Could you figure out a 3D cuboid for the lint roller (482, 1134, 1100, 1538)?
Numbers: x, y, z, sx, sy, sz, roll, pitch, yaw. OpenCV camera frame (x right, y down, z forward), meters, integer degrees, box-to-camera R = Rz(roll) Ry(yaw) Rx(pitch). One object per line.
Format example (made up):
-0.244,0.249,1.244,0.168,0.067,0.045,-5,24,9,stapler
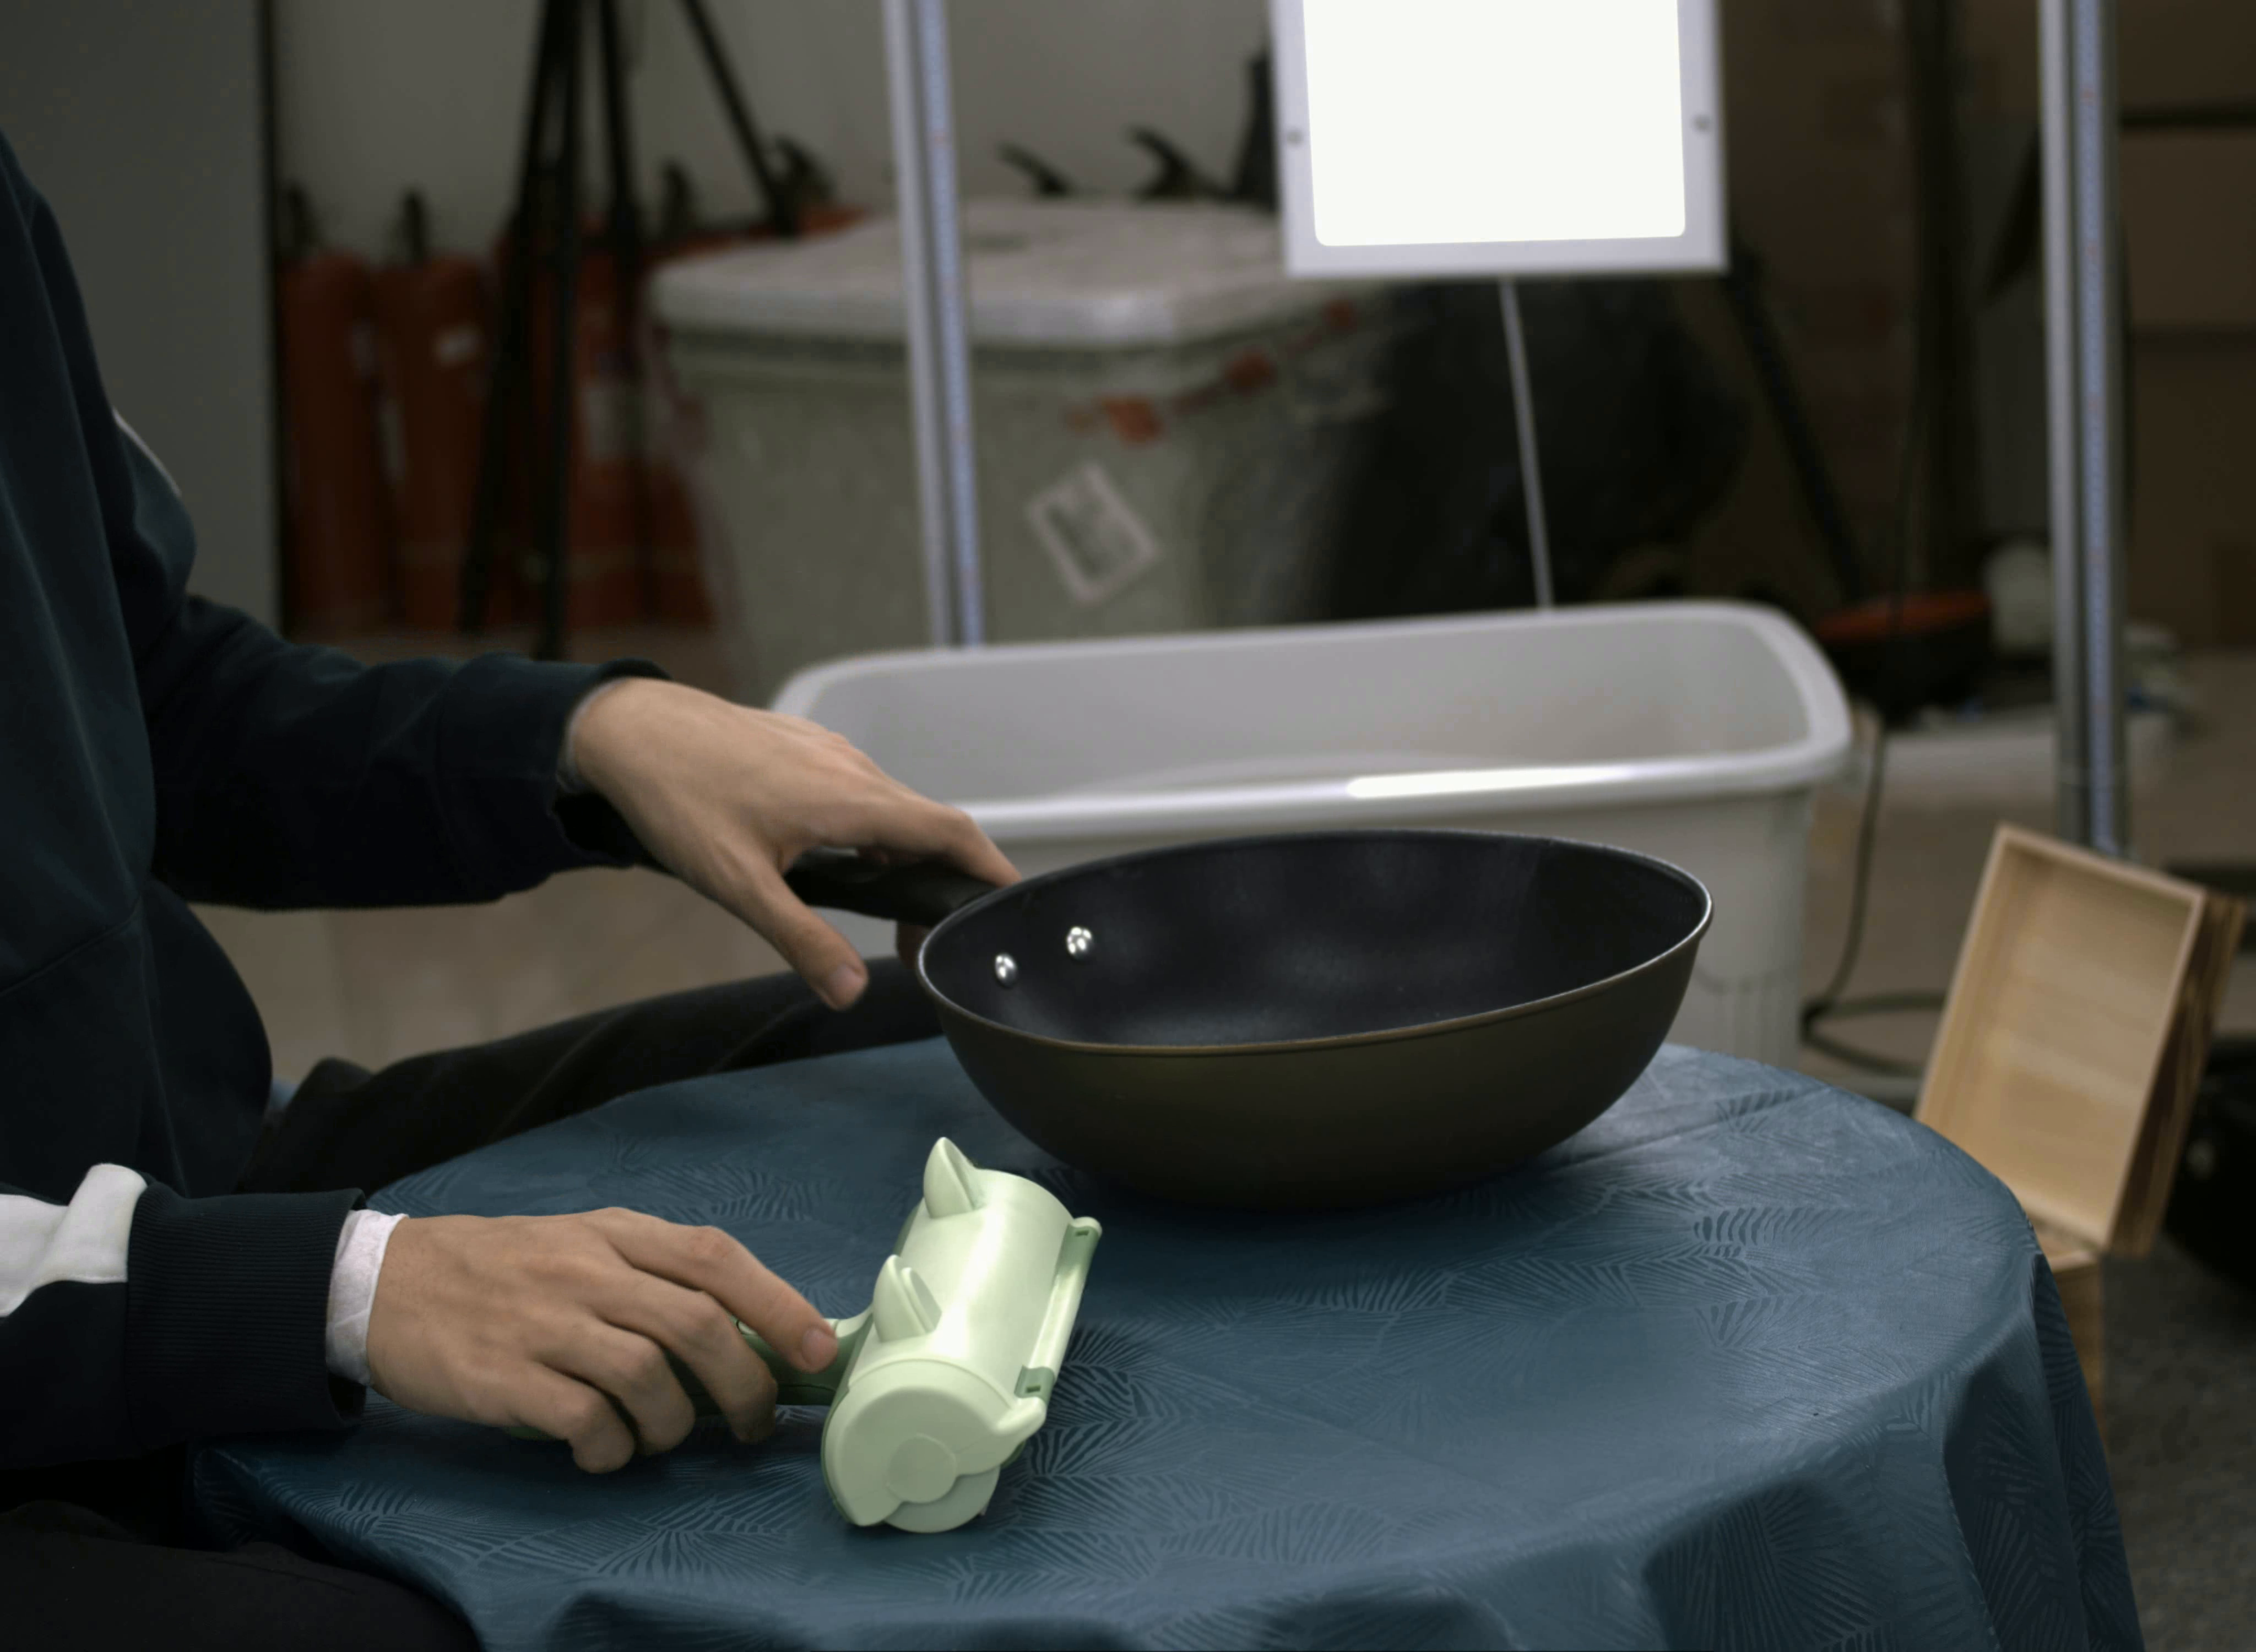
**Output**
-0.108,0.149,1.684,0.184,0.082,0.197,2,15,7,lint roller

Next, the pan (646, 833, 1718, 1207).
-0.003,0.065,1.973,0.473,0.087,0.281,5,17,40,pan
